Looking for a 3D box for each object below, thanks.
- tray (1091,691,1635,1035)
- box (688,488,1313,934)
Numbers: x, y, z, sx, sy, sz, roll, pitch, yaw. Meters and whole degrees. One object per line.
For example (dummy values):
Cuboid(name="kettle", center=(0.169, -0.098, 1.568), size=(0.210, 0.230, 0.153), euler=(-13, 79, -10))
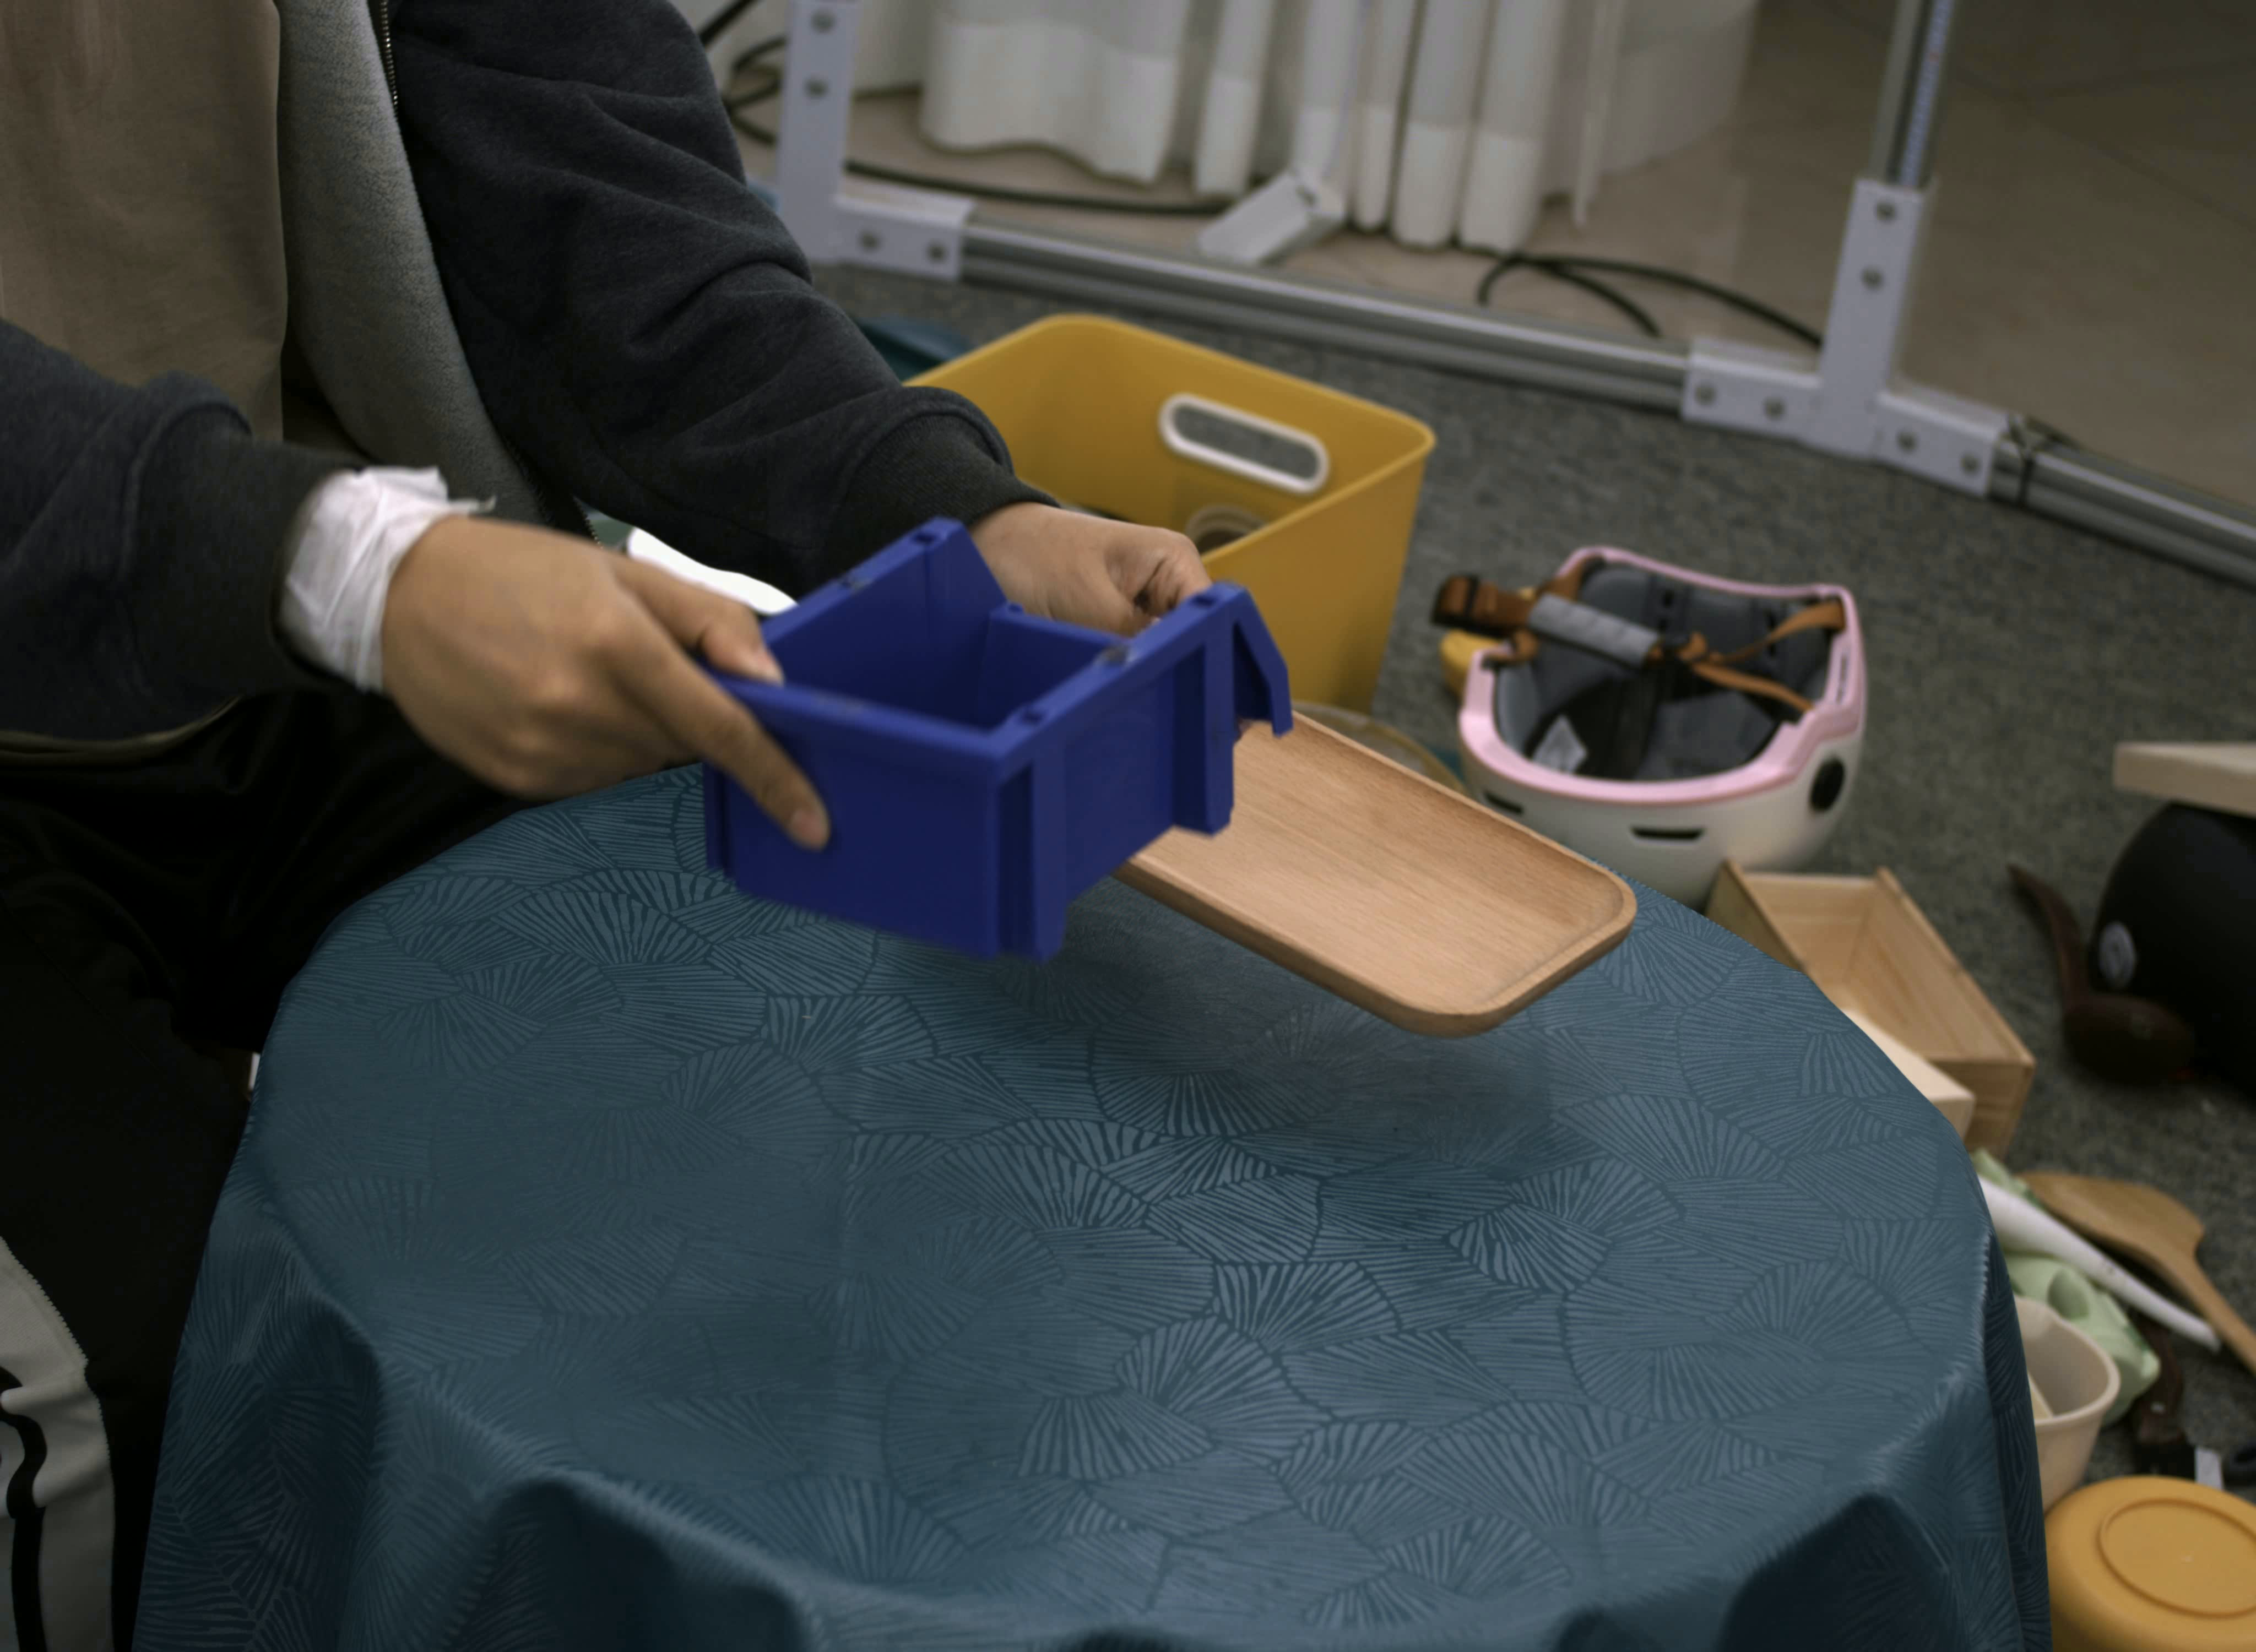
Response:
Cuboid(name="tray", center=(0.053, 0.001, 1.898), size=(0.252, 0.023, 0.130), euler=(27, 35, 31))
Cuboid(name="box", center=(-0.039, -0.042, 1.704), size=(0.125, 0.081, 0.179), euler=(14, 31, 30))
